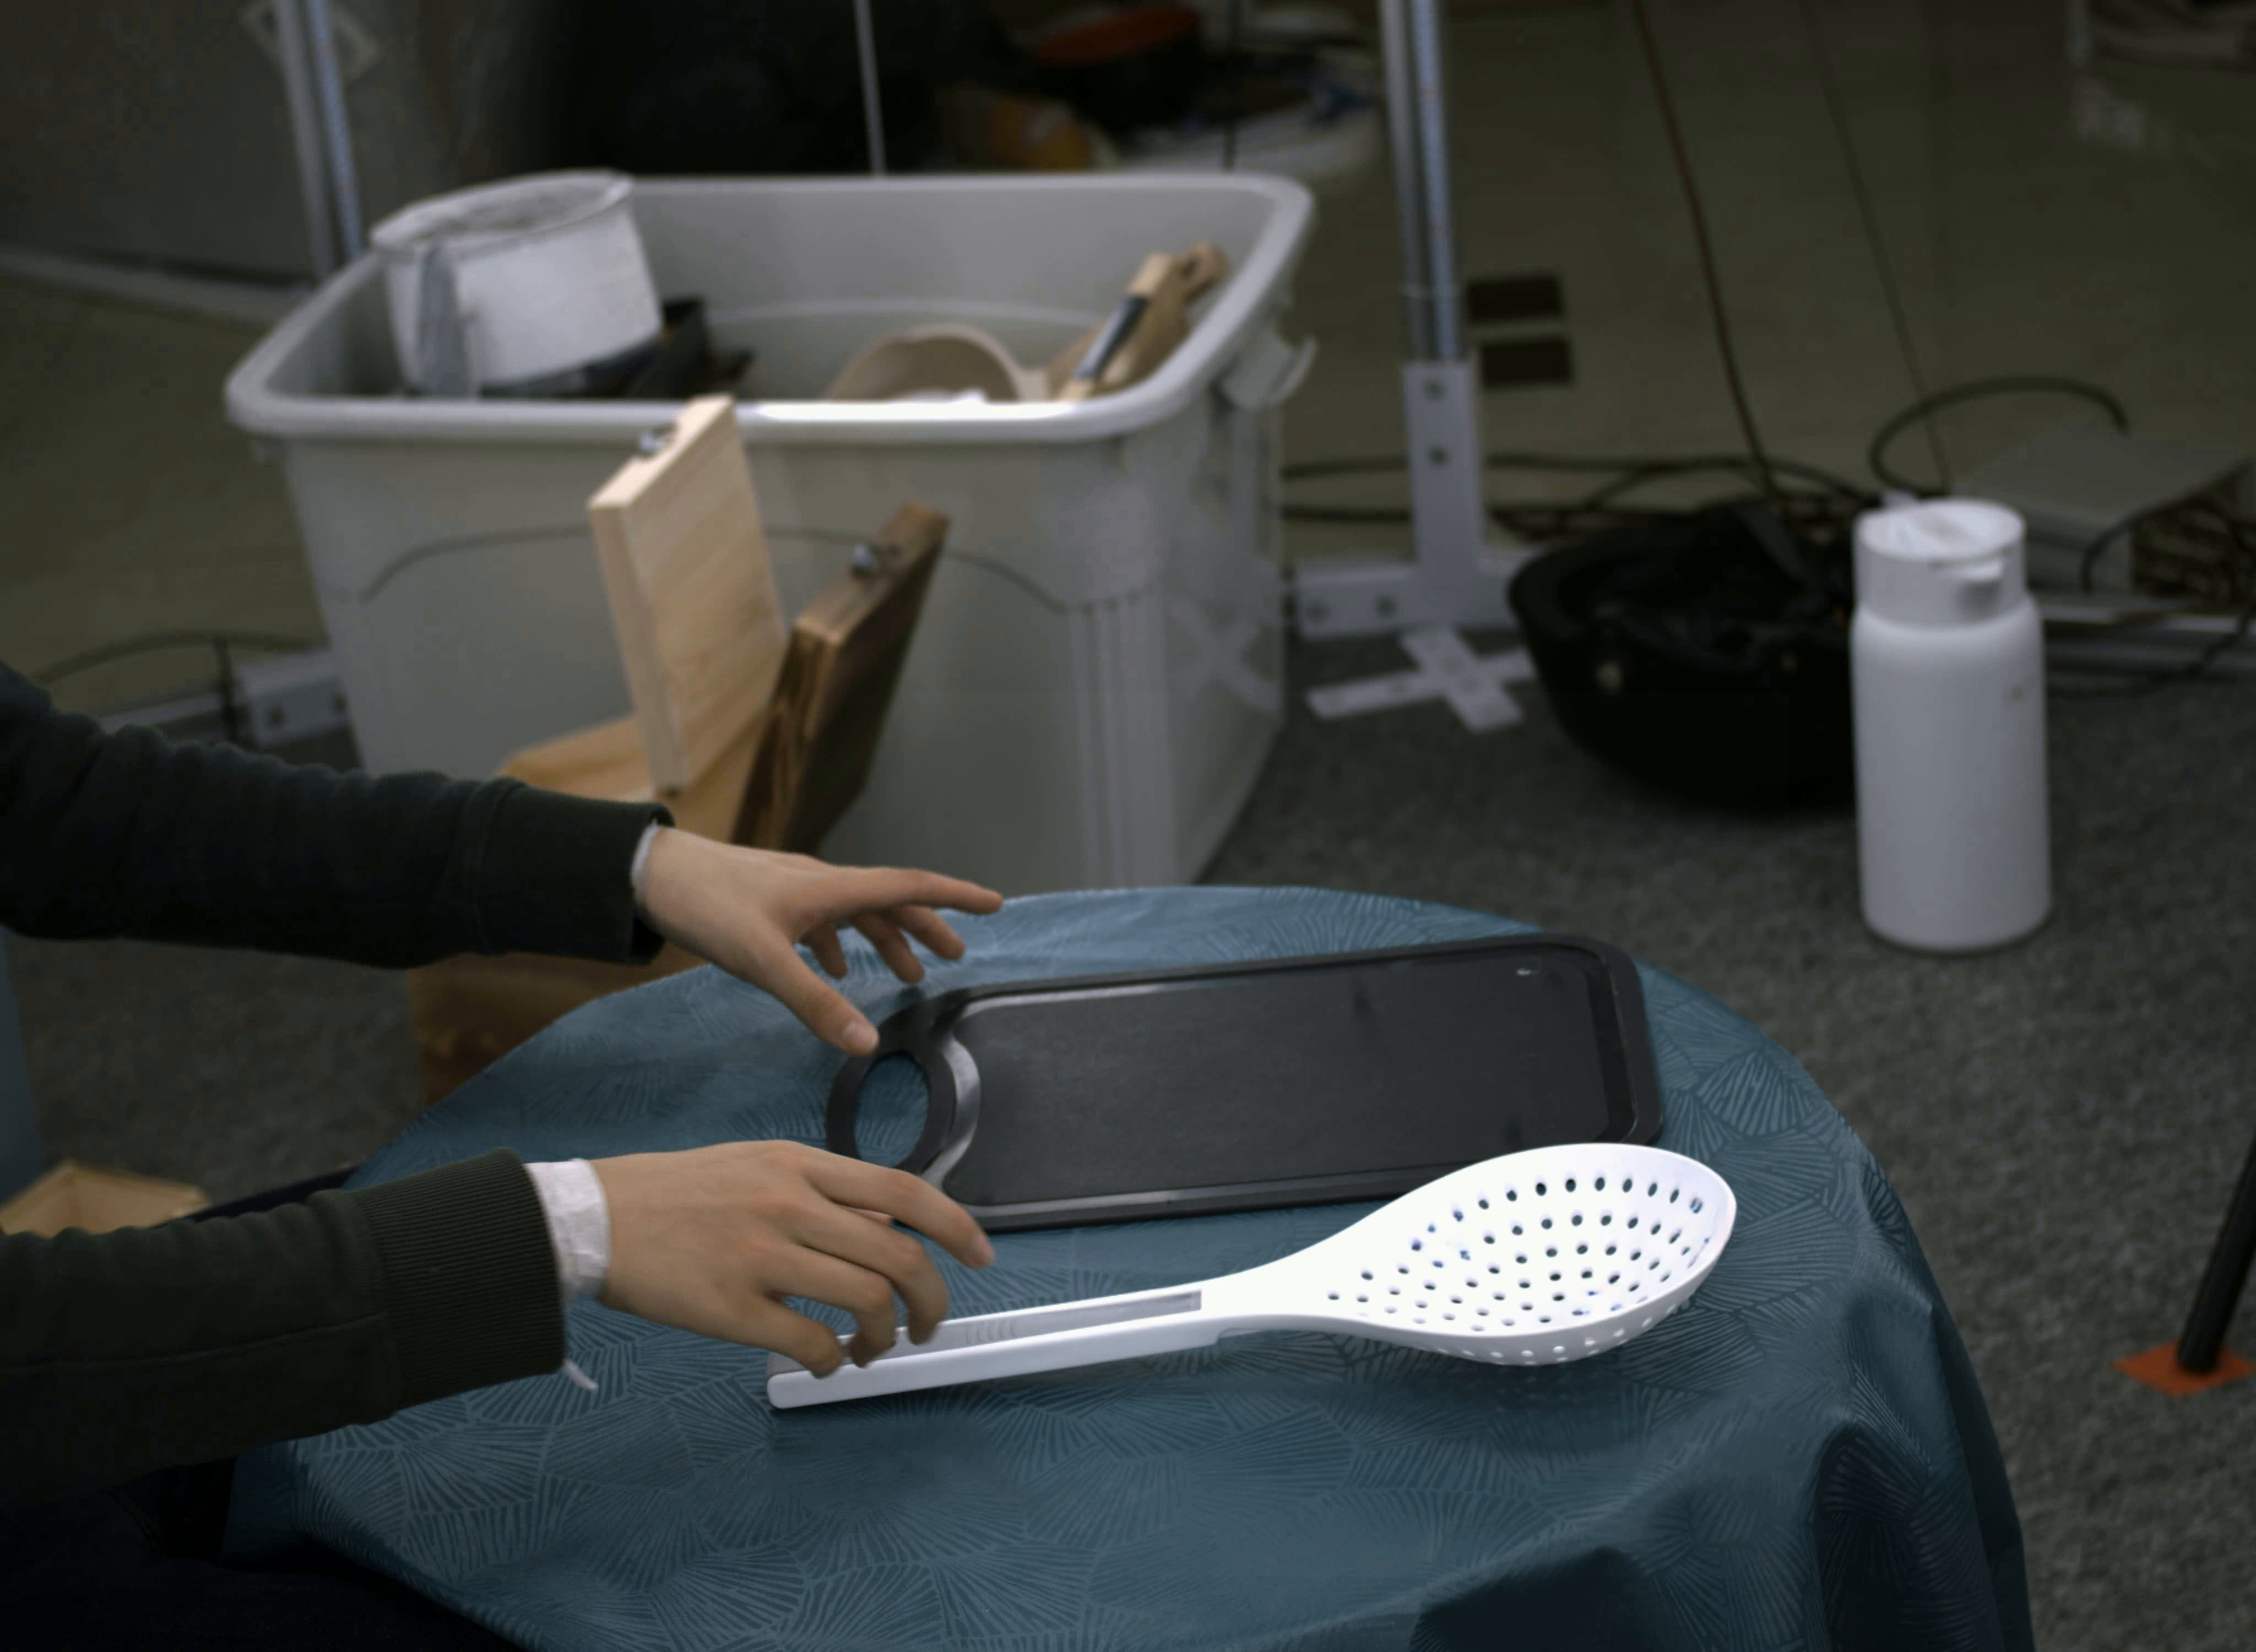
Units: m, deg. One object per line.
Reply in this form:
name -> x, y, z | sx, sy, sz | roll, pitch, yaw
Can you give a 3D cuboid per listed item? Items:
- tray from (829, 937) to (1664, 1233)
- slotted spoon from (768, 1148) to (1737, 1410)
tray -> 0.044, 0.099, 2.220 | 0.325, 0.010, 0.208 | -5, 24, 3
slotted spoon -> 0.043, 0.171, 2.020 | 0.349, 0.046, 0.134 | -5, 23, 4
